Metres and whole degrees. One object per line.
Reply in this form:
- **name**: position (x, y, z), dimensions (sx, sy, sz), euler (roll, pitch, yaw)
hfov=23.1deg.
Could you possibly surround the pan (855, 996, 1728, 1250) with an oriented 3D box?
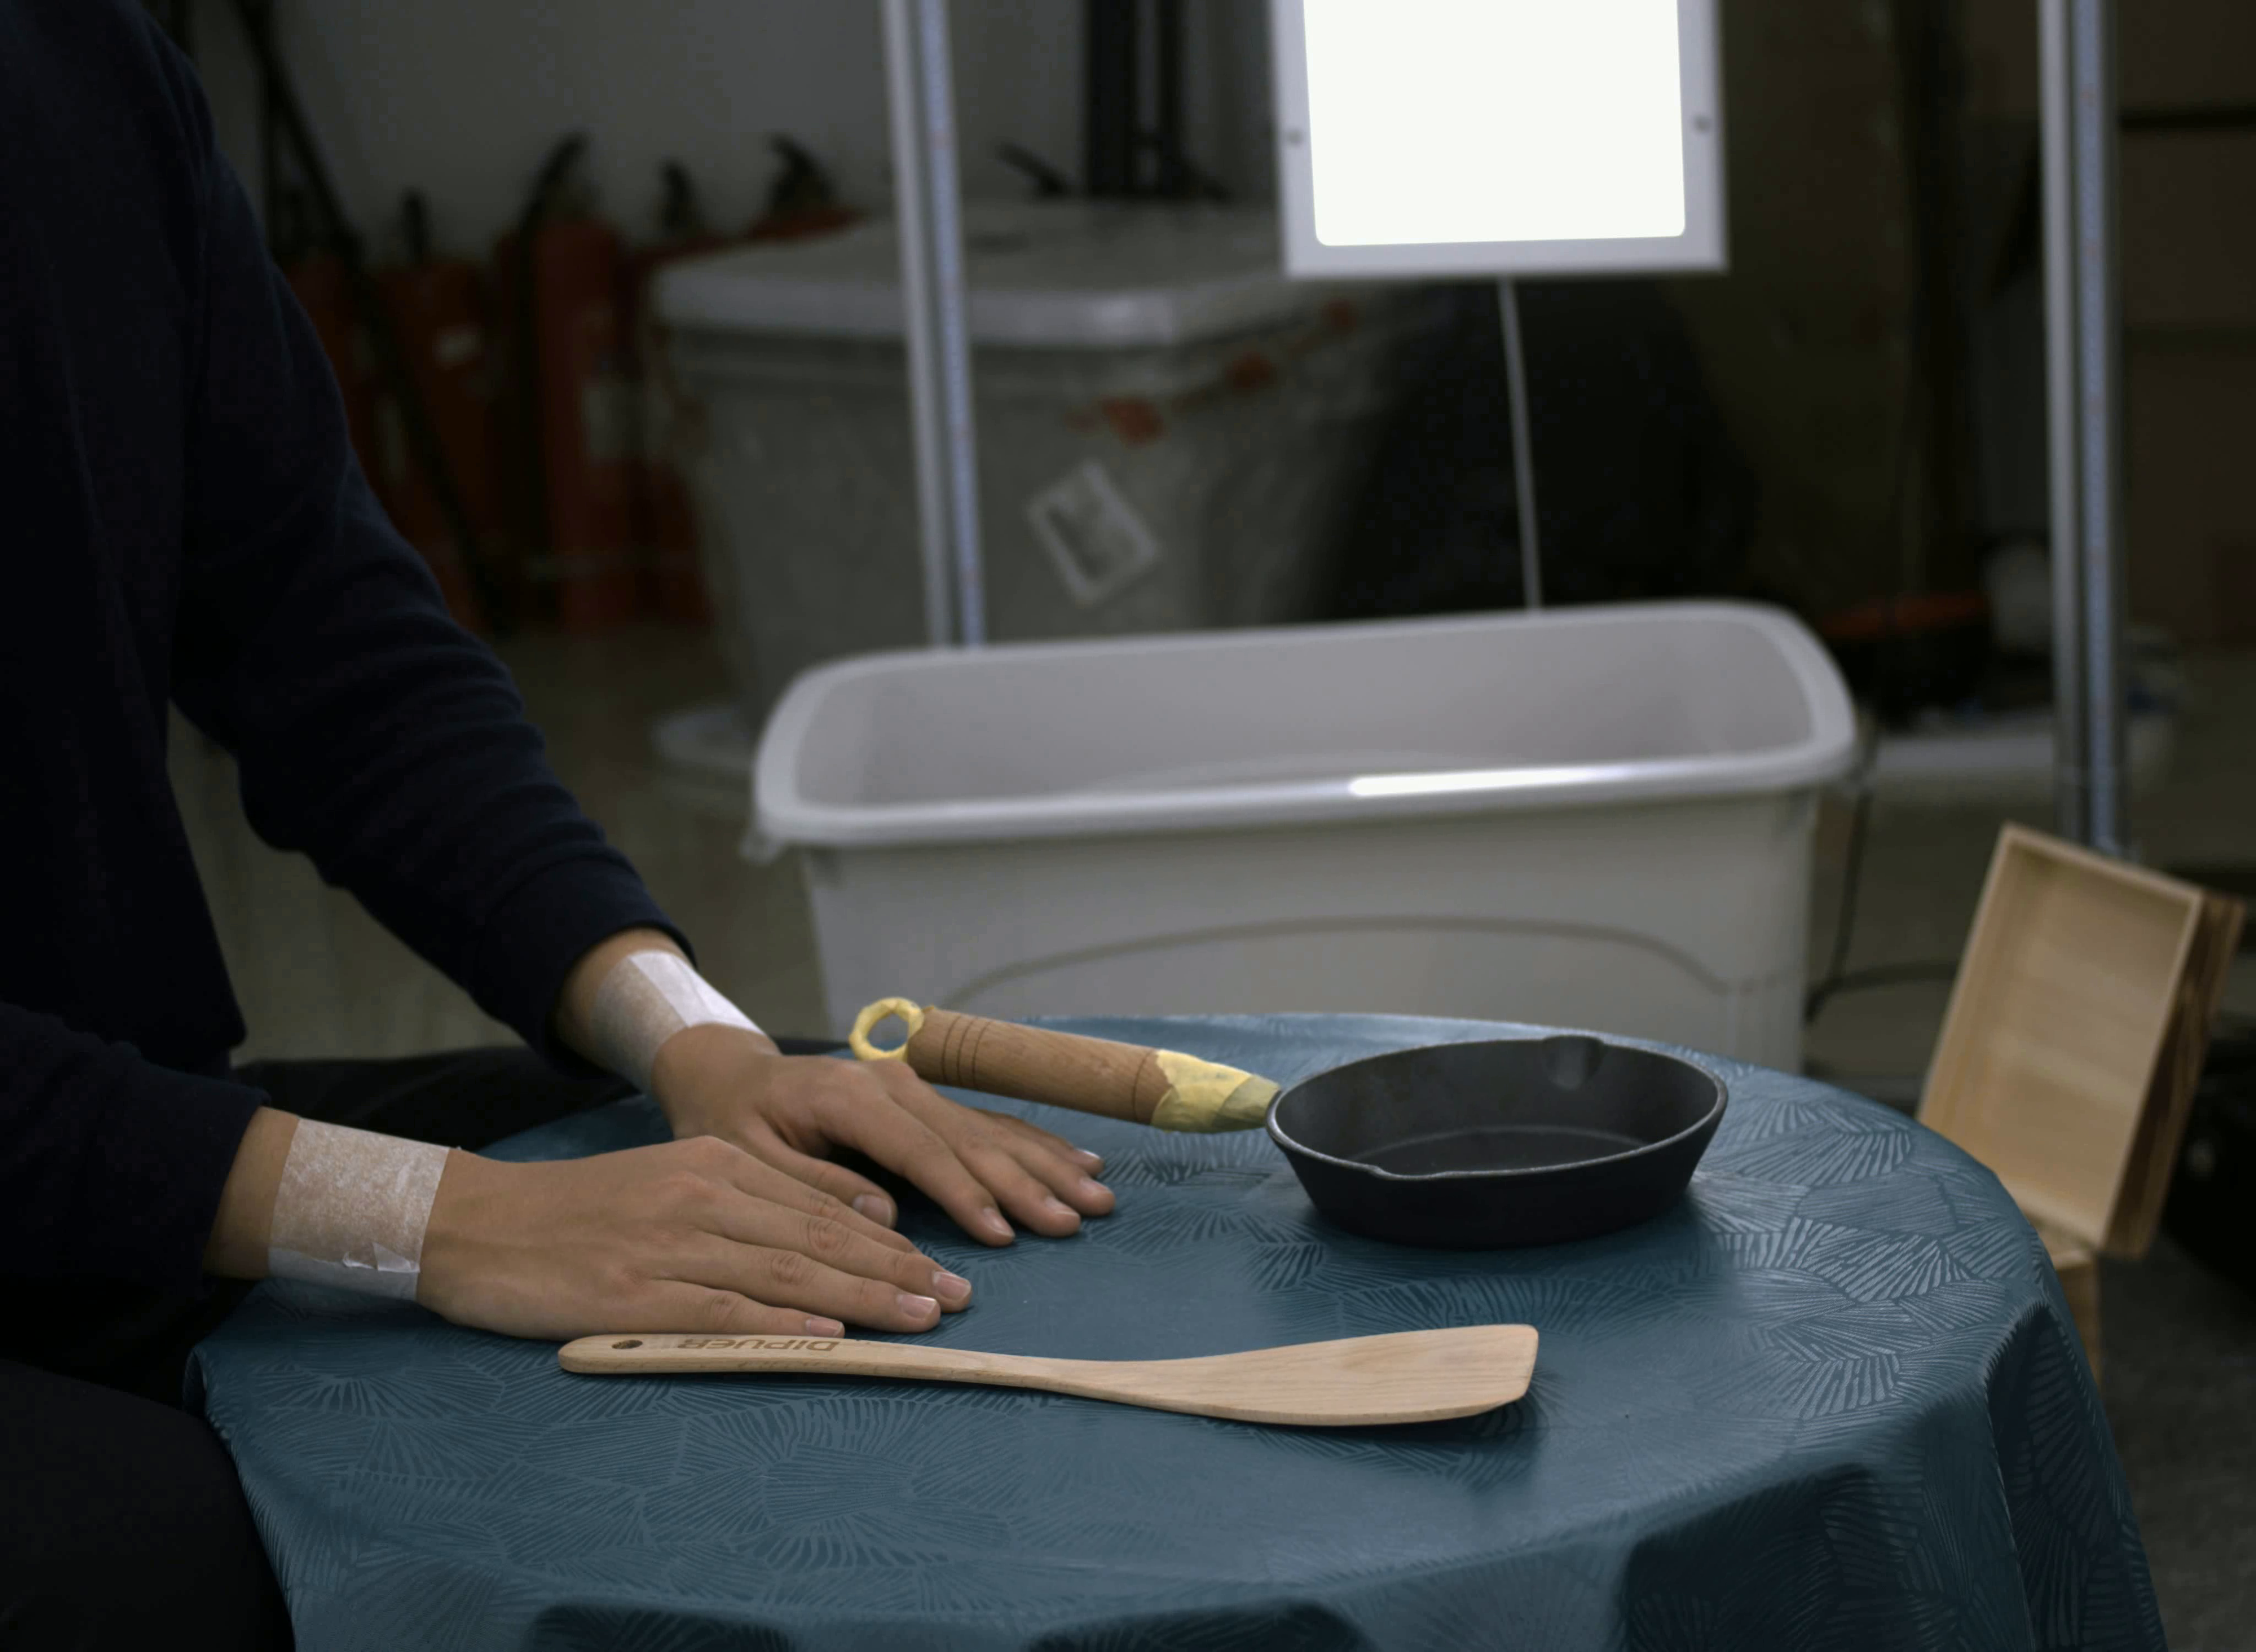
- **pan**: position (0.050, 0.096, 1.897), dimensions (0.330, 0.050, 0.165), euler (4, 16, 29)

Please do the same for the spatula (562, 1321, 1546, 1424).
- **spatula**: position (-0.025, 0.166, 1.713), dimensions (0.332, 0.016, 0.078), euler (0, 14, 21)
